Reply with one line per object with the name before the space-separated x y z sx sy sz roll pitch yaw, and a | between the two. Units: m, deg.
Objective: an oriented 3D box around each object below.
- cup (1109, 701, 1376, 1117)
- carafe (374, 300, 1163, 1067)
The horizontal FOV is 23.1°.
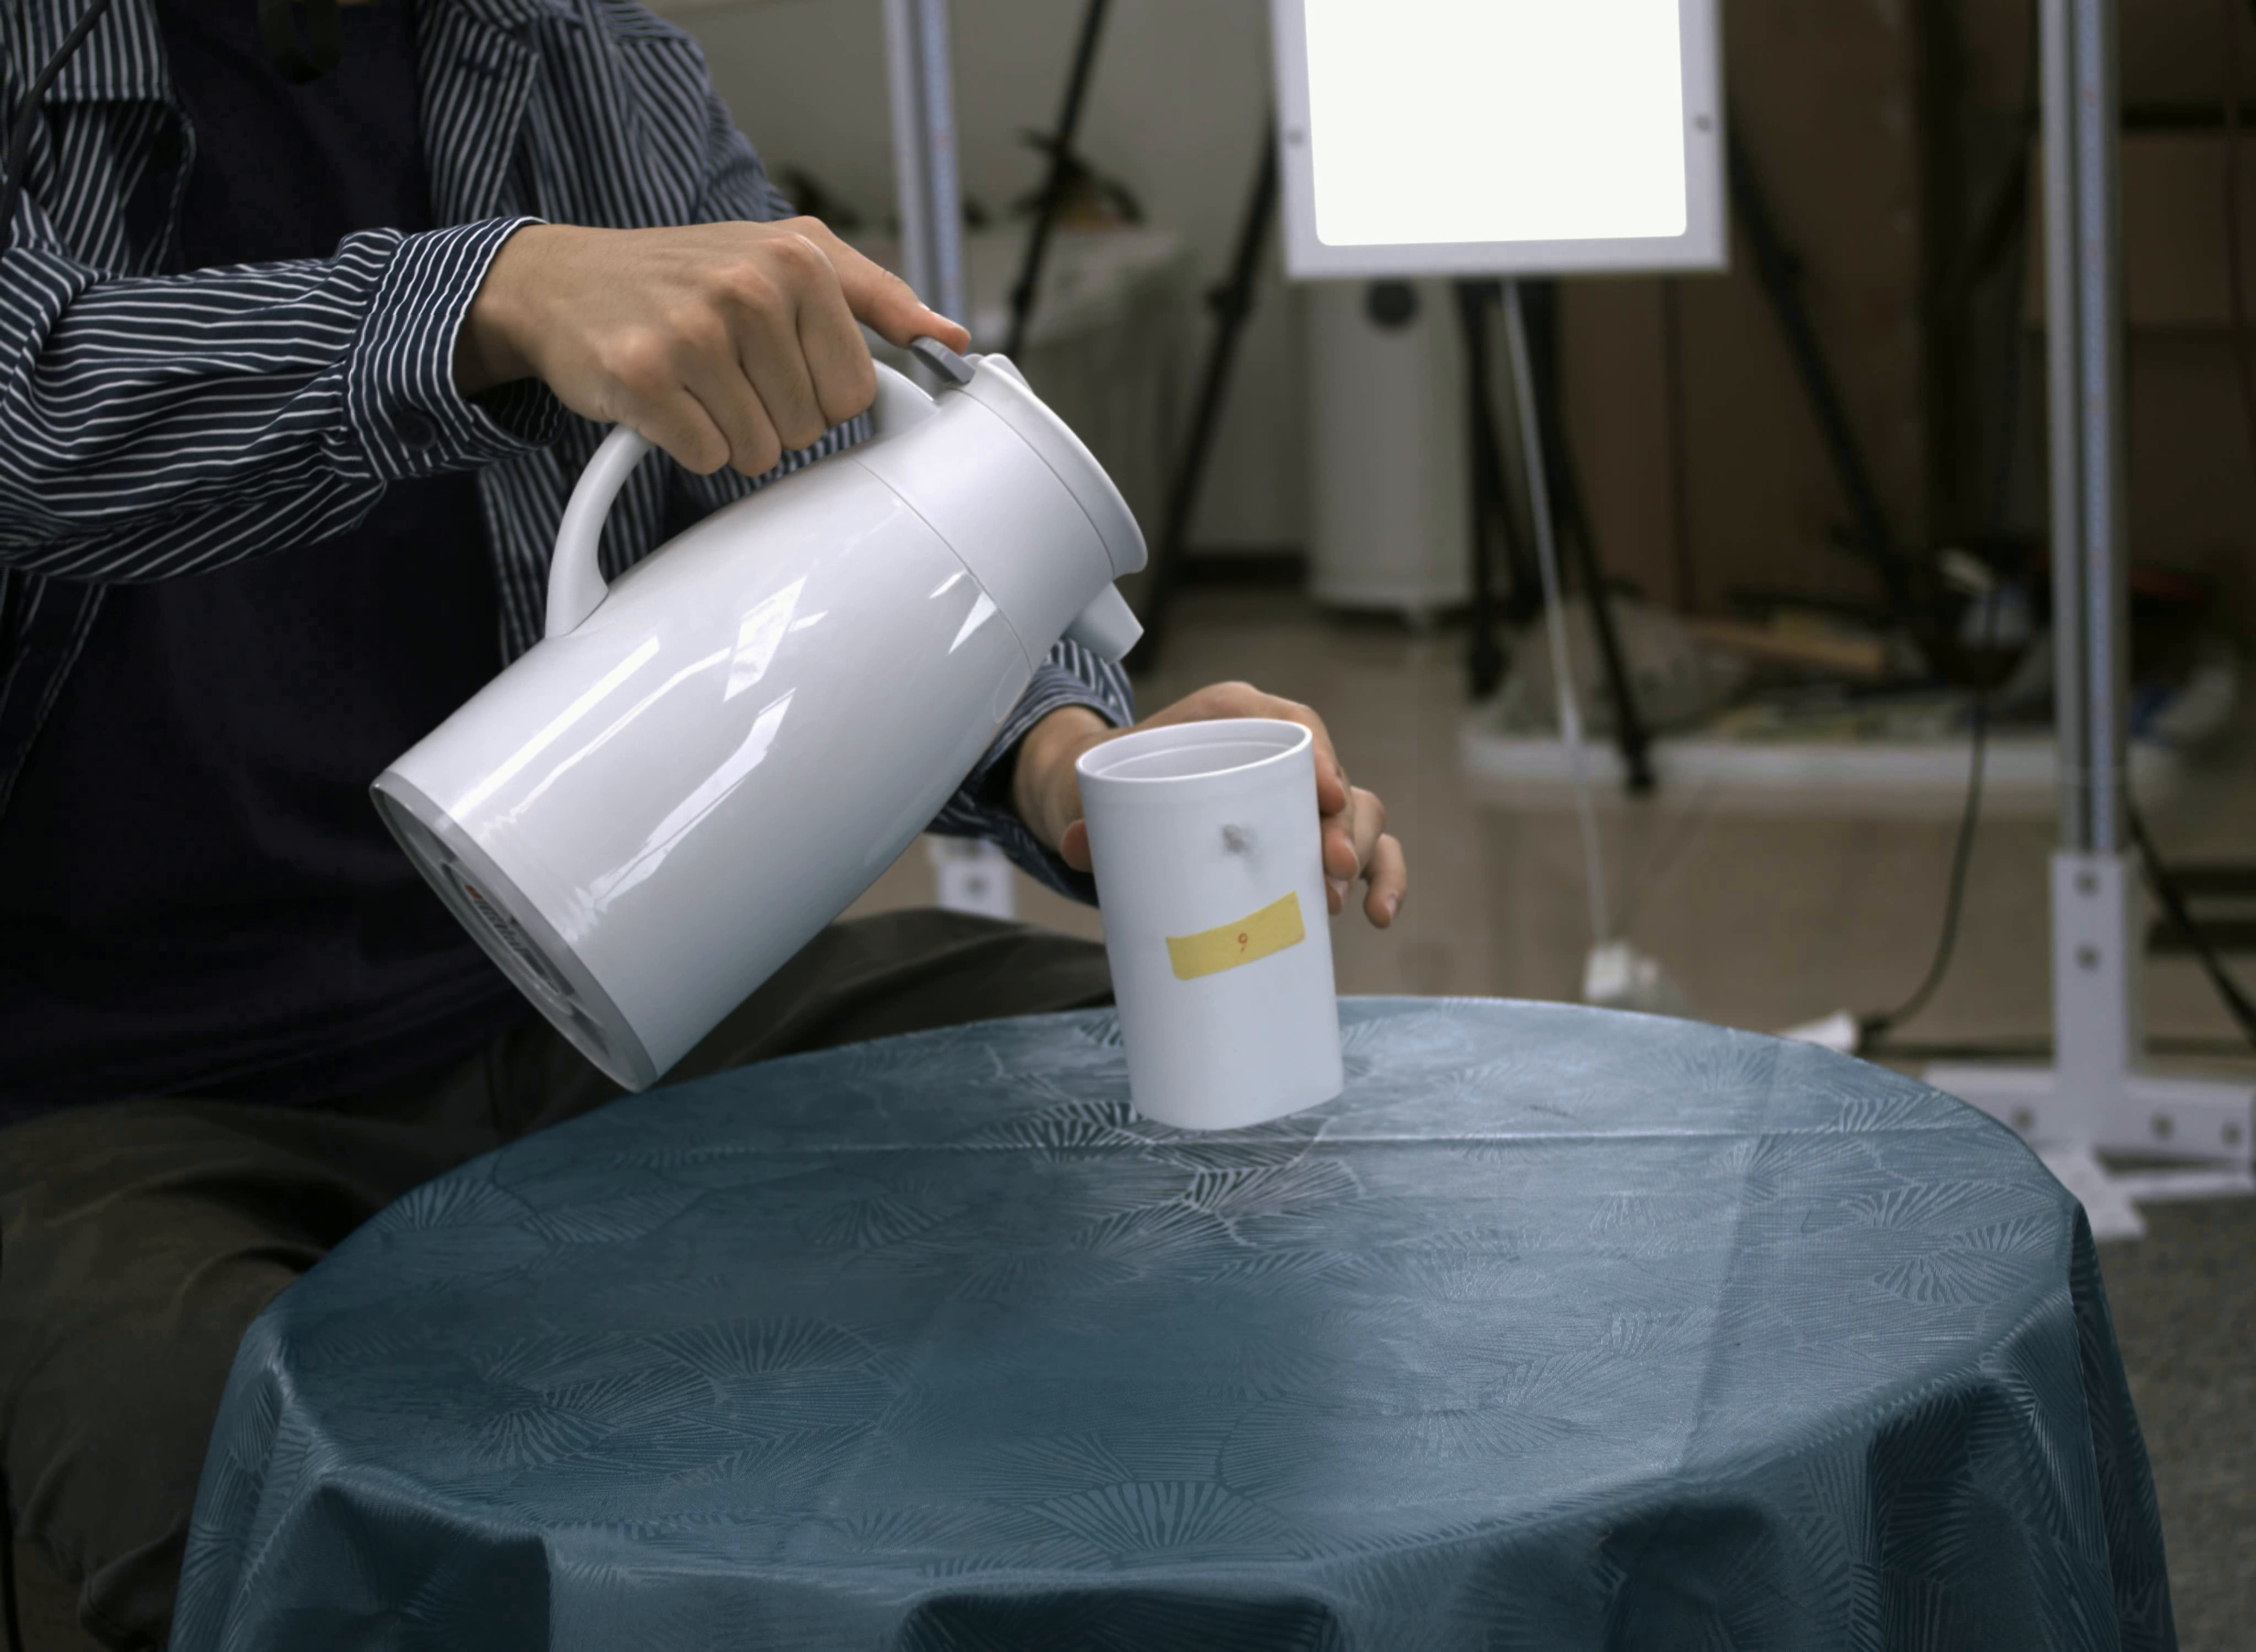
cup | 0.042 0.028 1.855 0.081 0.126 0.081 -8 14 0
carafe | -0.116 -0.064 1.773 0.247 0.167 0.134 -39 19 -10
